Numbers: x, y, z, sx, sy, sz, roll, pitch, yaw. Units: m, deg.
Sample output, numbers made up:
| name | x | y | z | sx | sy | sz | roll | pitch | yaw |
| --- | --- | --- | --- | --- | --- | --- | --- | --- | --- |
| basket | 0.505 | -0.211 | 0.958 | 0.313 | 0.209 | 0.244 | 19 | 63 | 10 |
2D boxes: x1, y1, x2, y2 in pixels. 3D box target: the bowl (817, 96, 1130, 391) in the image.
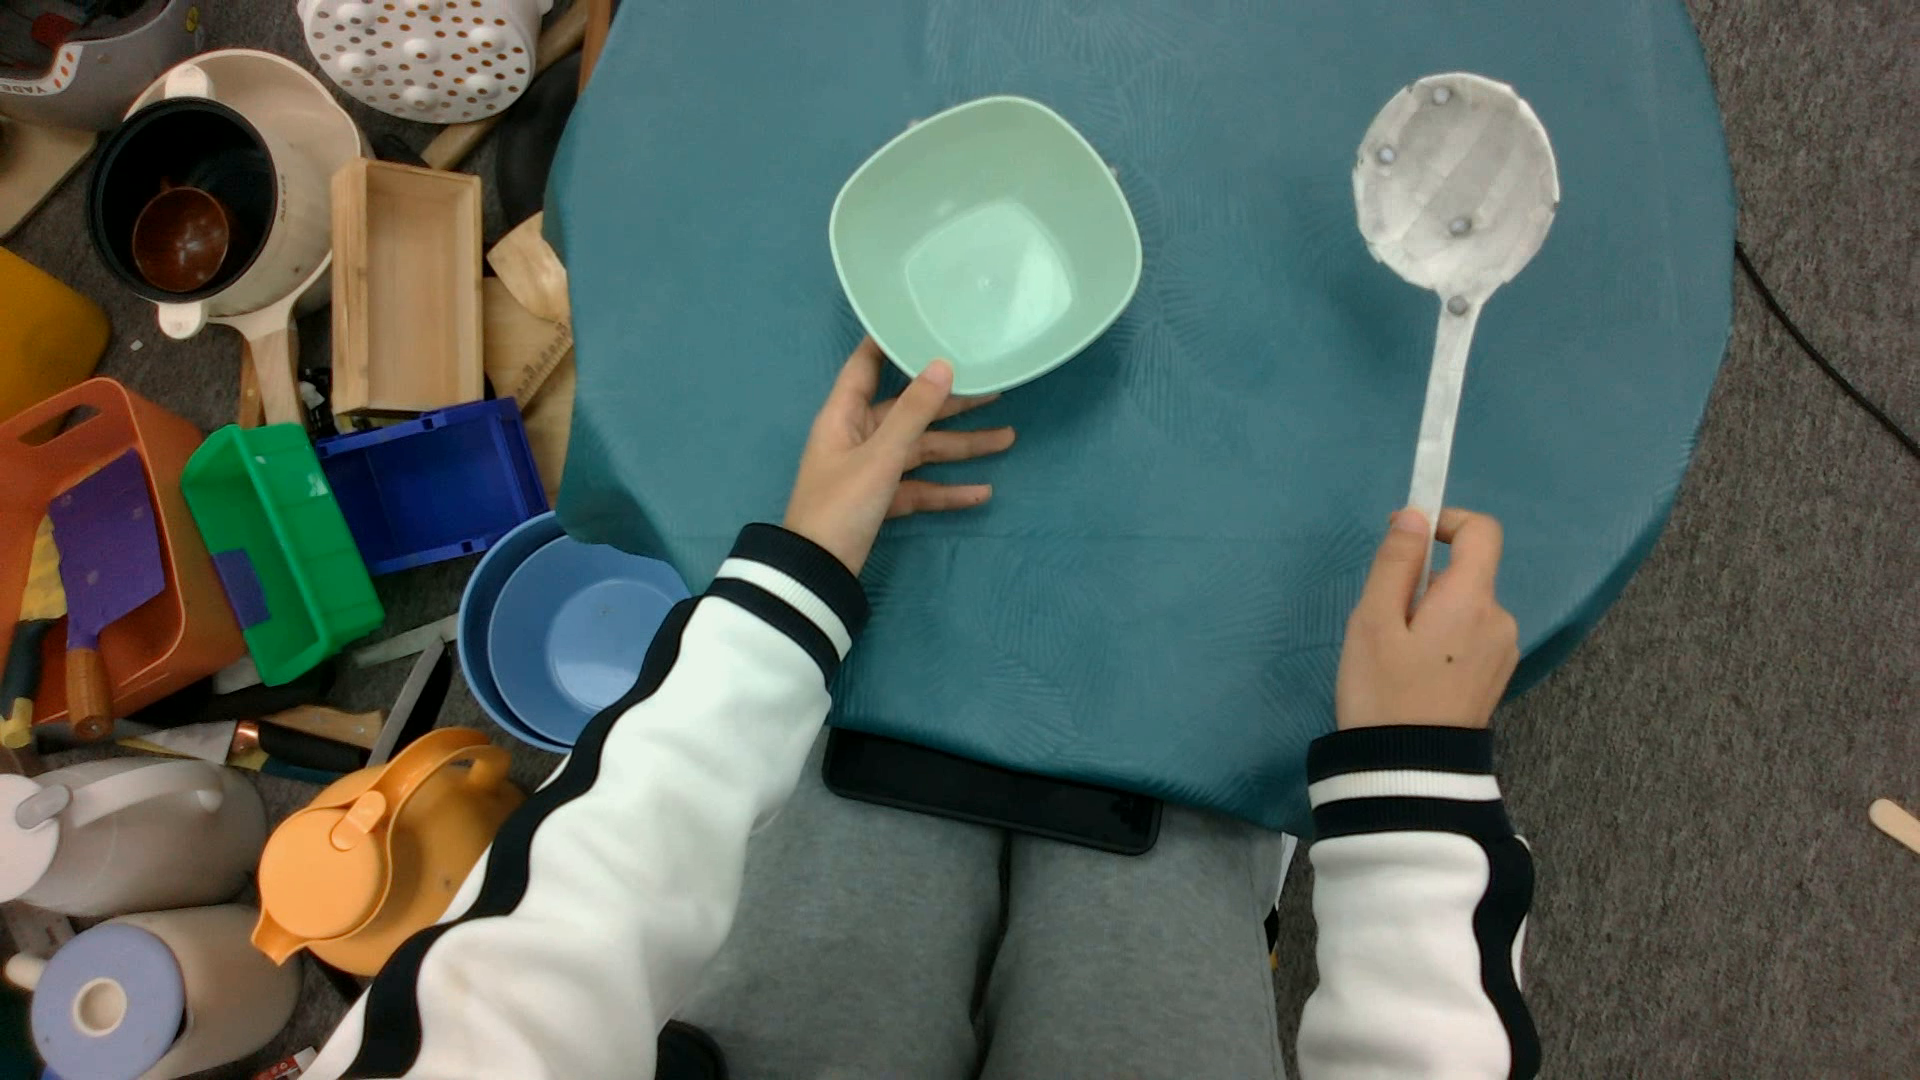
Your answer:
| name | x | y | z | sx | sy | sz | roll | pitch | yaw |
| --- | --- | --- | --- | --- | --- | --- | --- | --- | --- |
| bowl | 0.007 | -0.138 | 0.682 | 0.151 | 0.058 | 0.151 | -1 | 78 | 3 |

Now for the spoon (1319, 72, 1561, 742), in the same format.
| name | x | y | z | sx | sy | sz | roll | pitch | yaw |
| --- | --- | --- | --- | --- | --- | --- | --- | --- | --- |
| spoon | 0.207 | -0.057 | 0.578 | 0.100 | 0.059 | 0.278 | -3 | 76 | 16 |
